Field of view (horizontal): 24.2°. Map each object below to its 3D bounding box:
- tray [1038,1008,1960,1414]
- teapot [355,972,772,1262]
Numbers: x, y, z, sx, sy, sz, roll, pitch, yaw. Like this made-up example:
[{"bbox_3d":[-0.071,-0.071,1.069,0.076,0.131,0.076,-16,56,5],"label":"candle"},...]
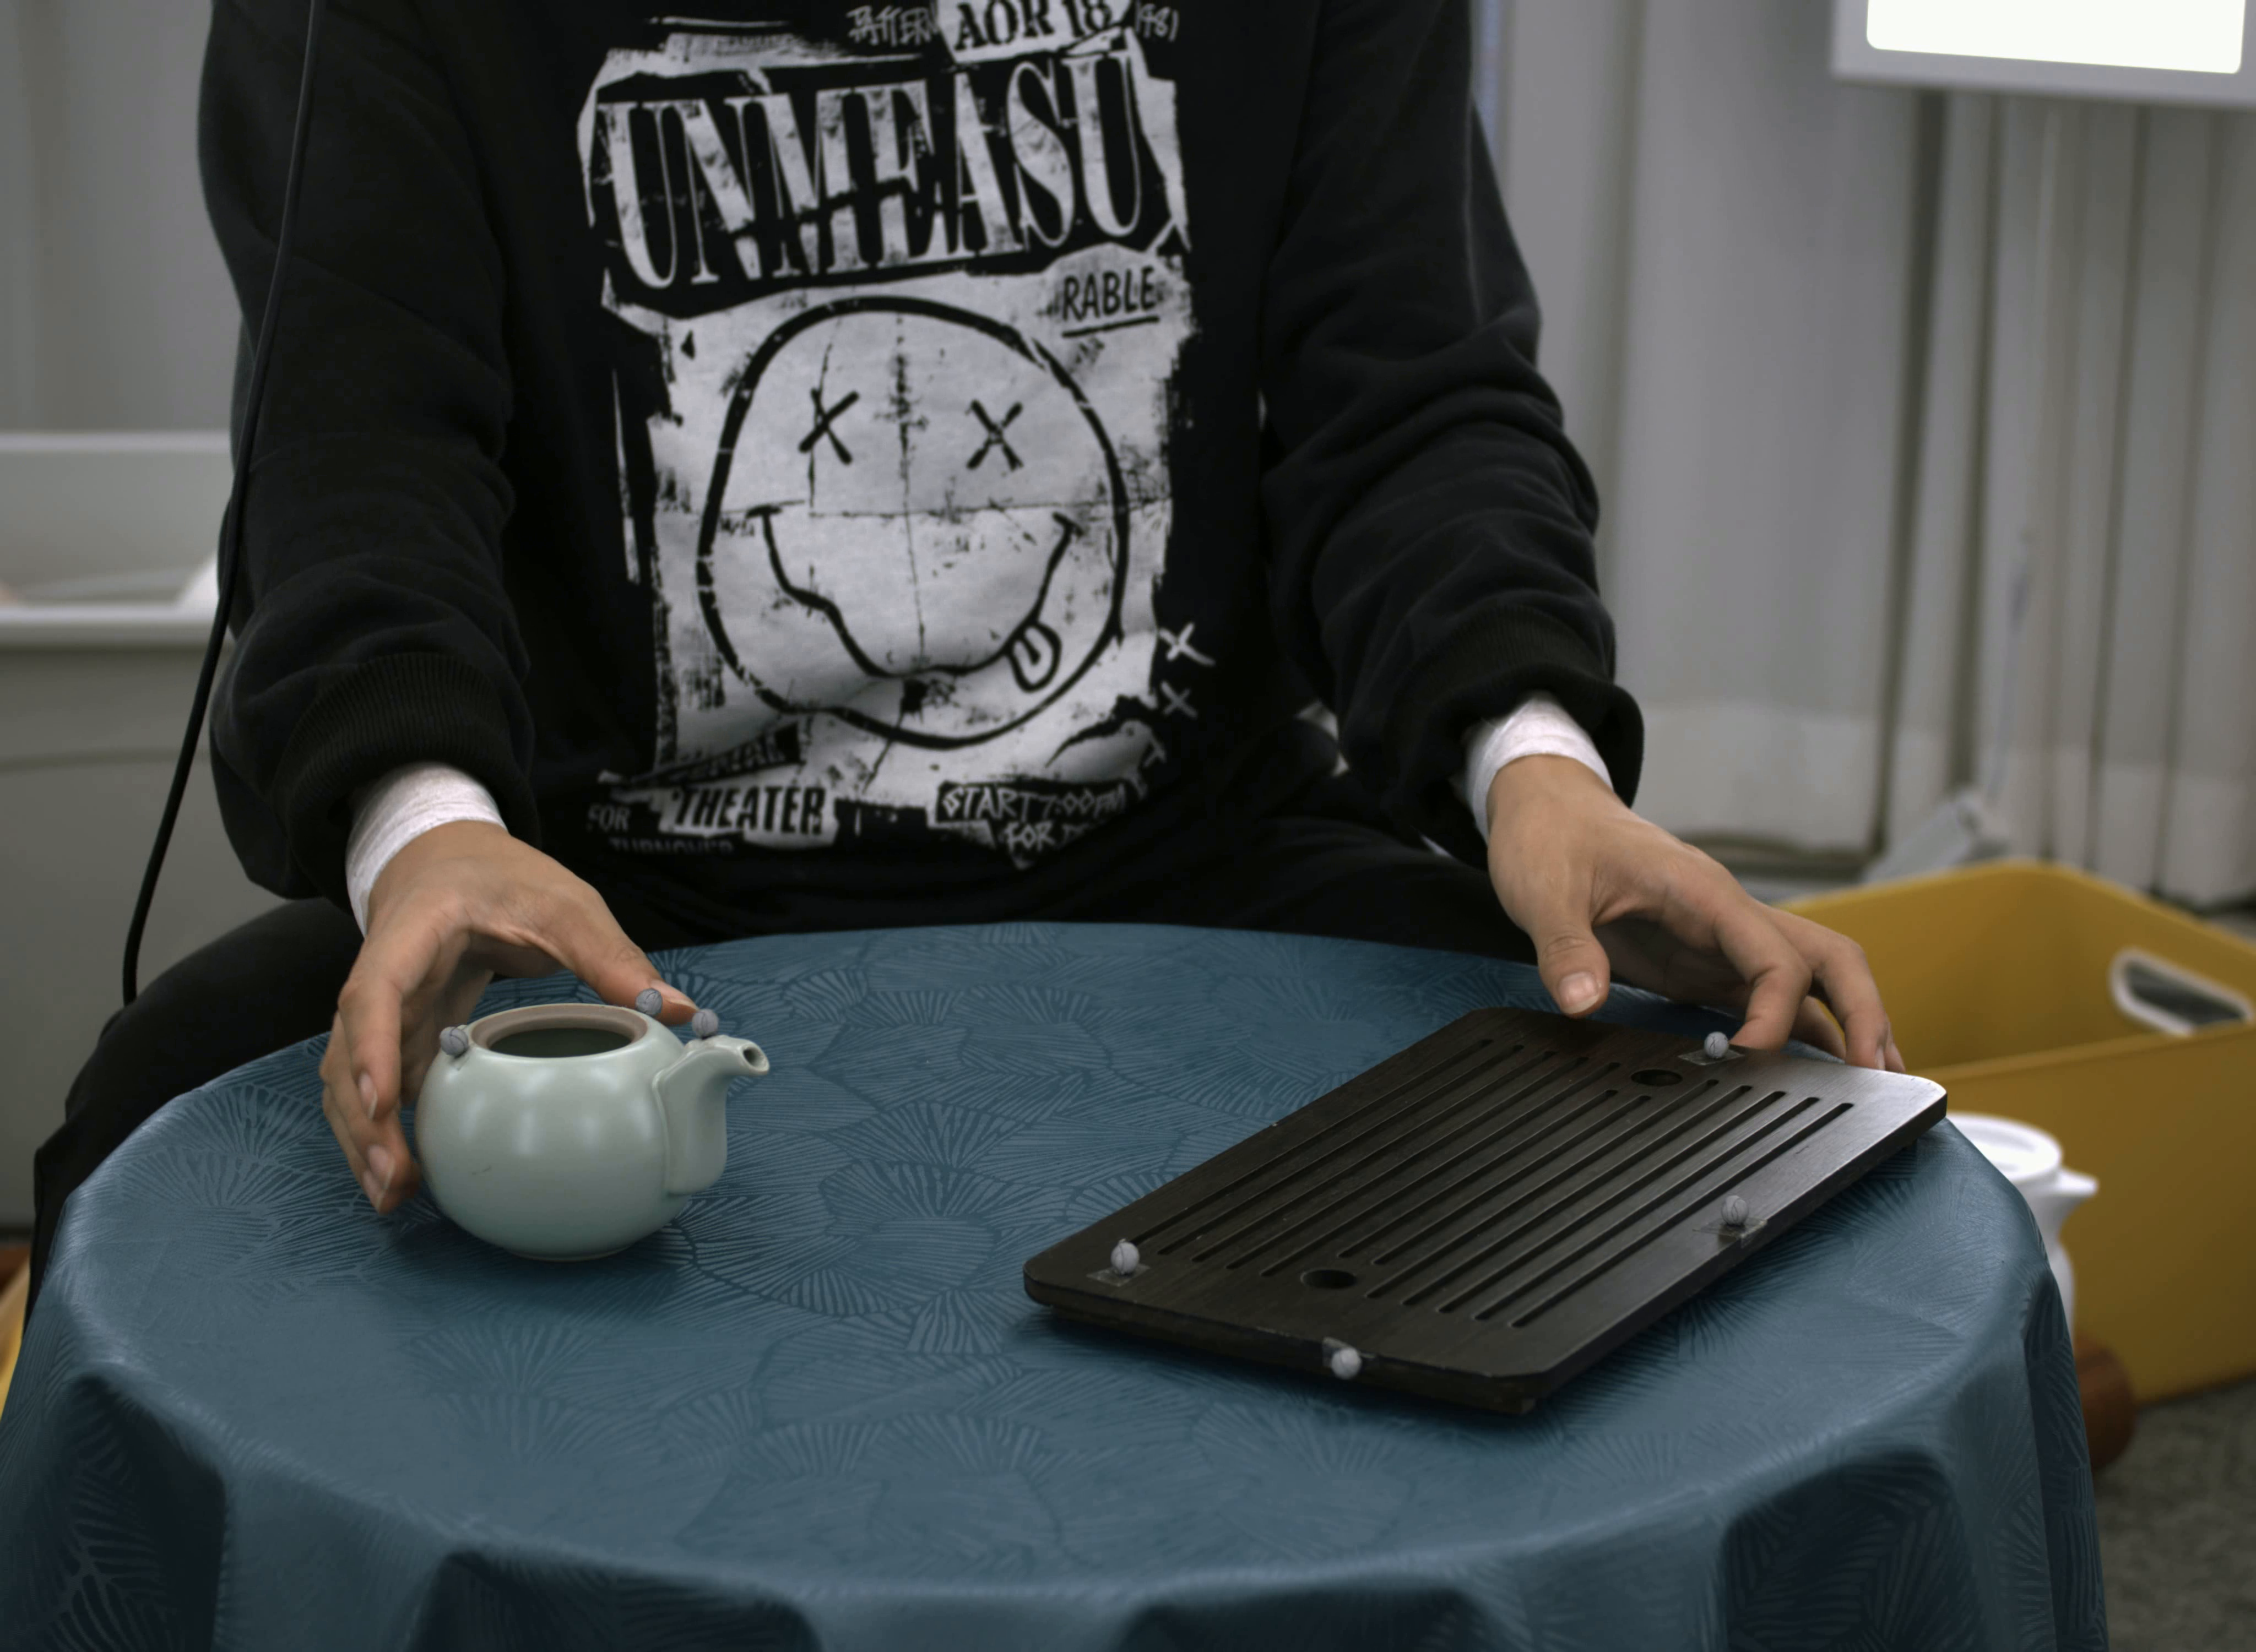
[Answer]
[{"bbox_3d":[0.119,0.112,1.592,0.168,0.019,0.307,9,17,30],"label":"tray"},{"bbox_3d":[-0.168,0.088,1.567,0.142,0.075,0.088,11,19,27],"label":"teapot"}]
